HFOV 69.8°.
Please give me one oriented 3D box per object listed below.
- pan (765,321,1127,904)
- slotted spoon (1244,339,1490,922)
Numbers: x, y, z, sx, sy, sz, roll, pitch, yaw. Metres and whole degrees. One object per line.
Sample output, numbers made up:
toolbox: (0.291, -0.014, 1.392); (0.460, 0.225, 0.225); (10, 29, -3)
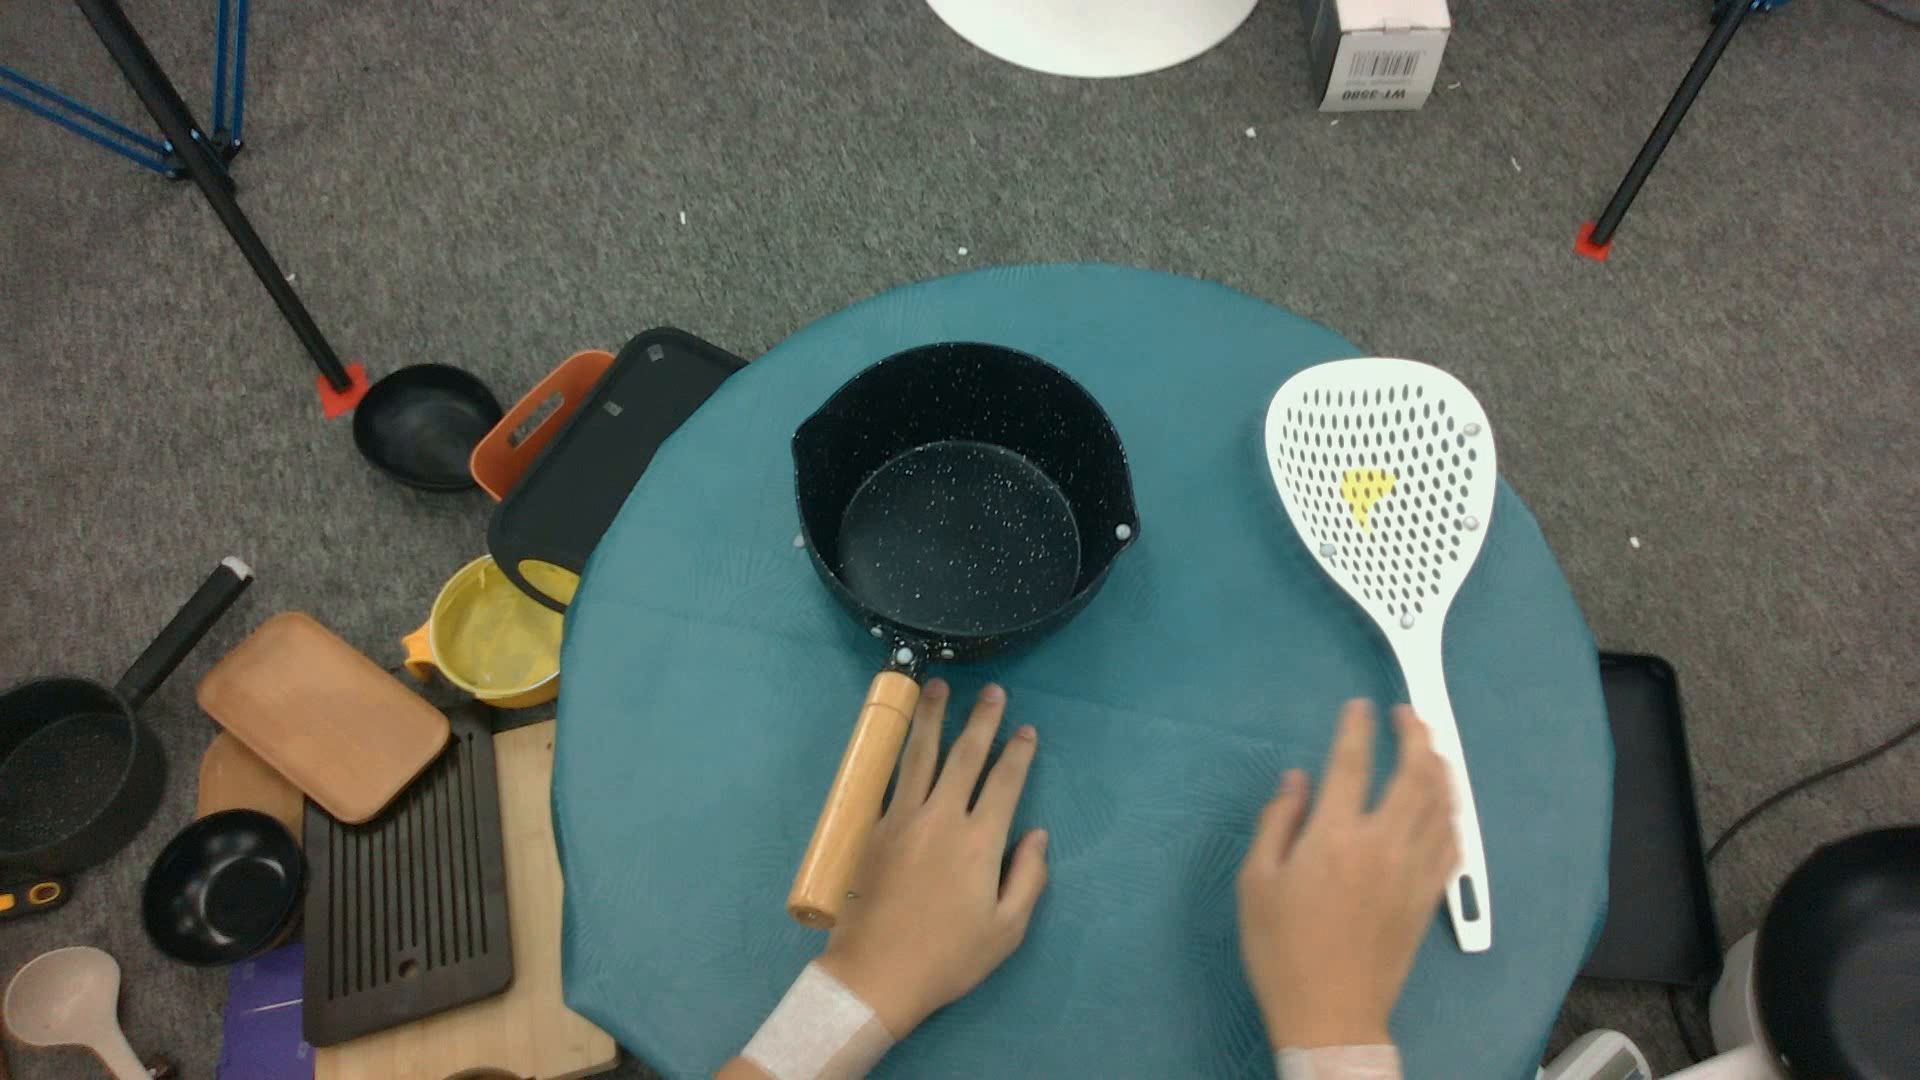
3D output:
pan: (-0.028, 0.039, 0.741); (0.207, 0.108, 0.344); (15, 62, 4)
slotted spoon: (0.249, 0.039, 0.790); (0.137, 0.050, 0.349); (-4, 62, -4)
